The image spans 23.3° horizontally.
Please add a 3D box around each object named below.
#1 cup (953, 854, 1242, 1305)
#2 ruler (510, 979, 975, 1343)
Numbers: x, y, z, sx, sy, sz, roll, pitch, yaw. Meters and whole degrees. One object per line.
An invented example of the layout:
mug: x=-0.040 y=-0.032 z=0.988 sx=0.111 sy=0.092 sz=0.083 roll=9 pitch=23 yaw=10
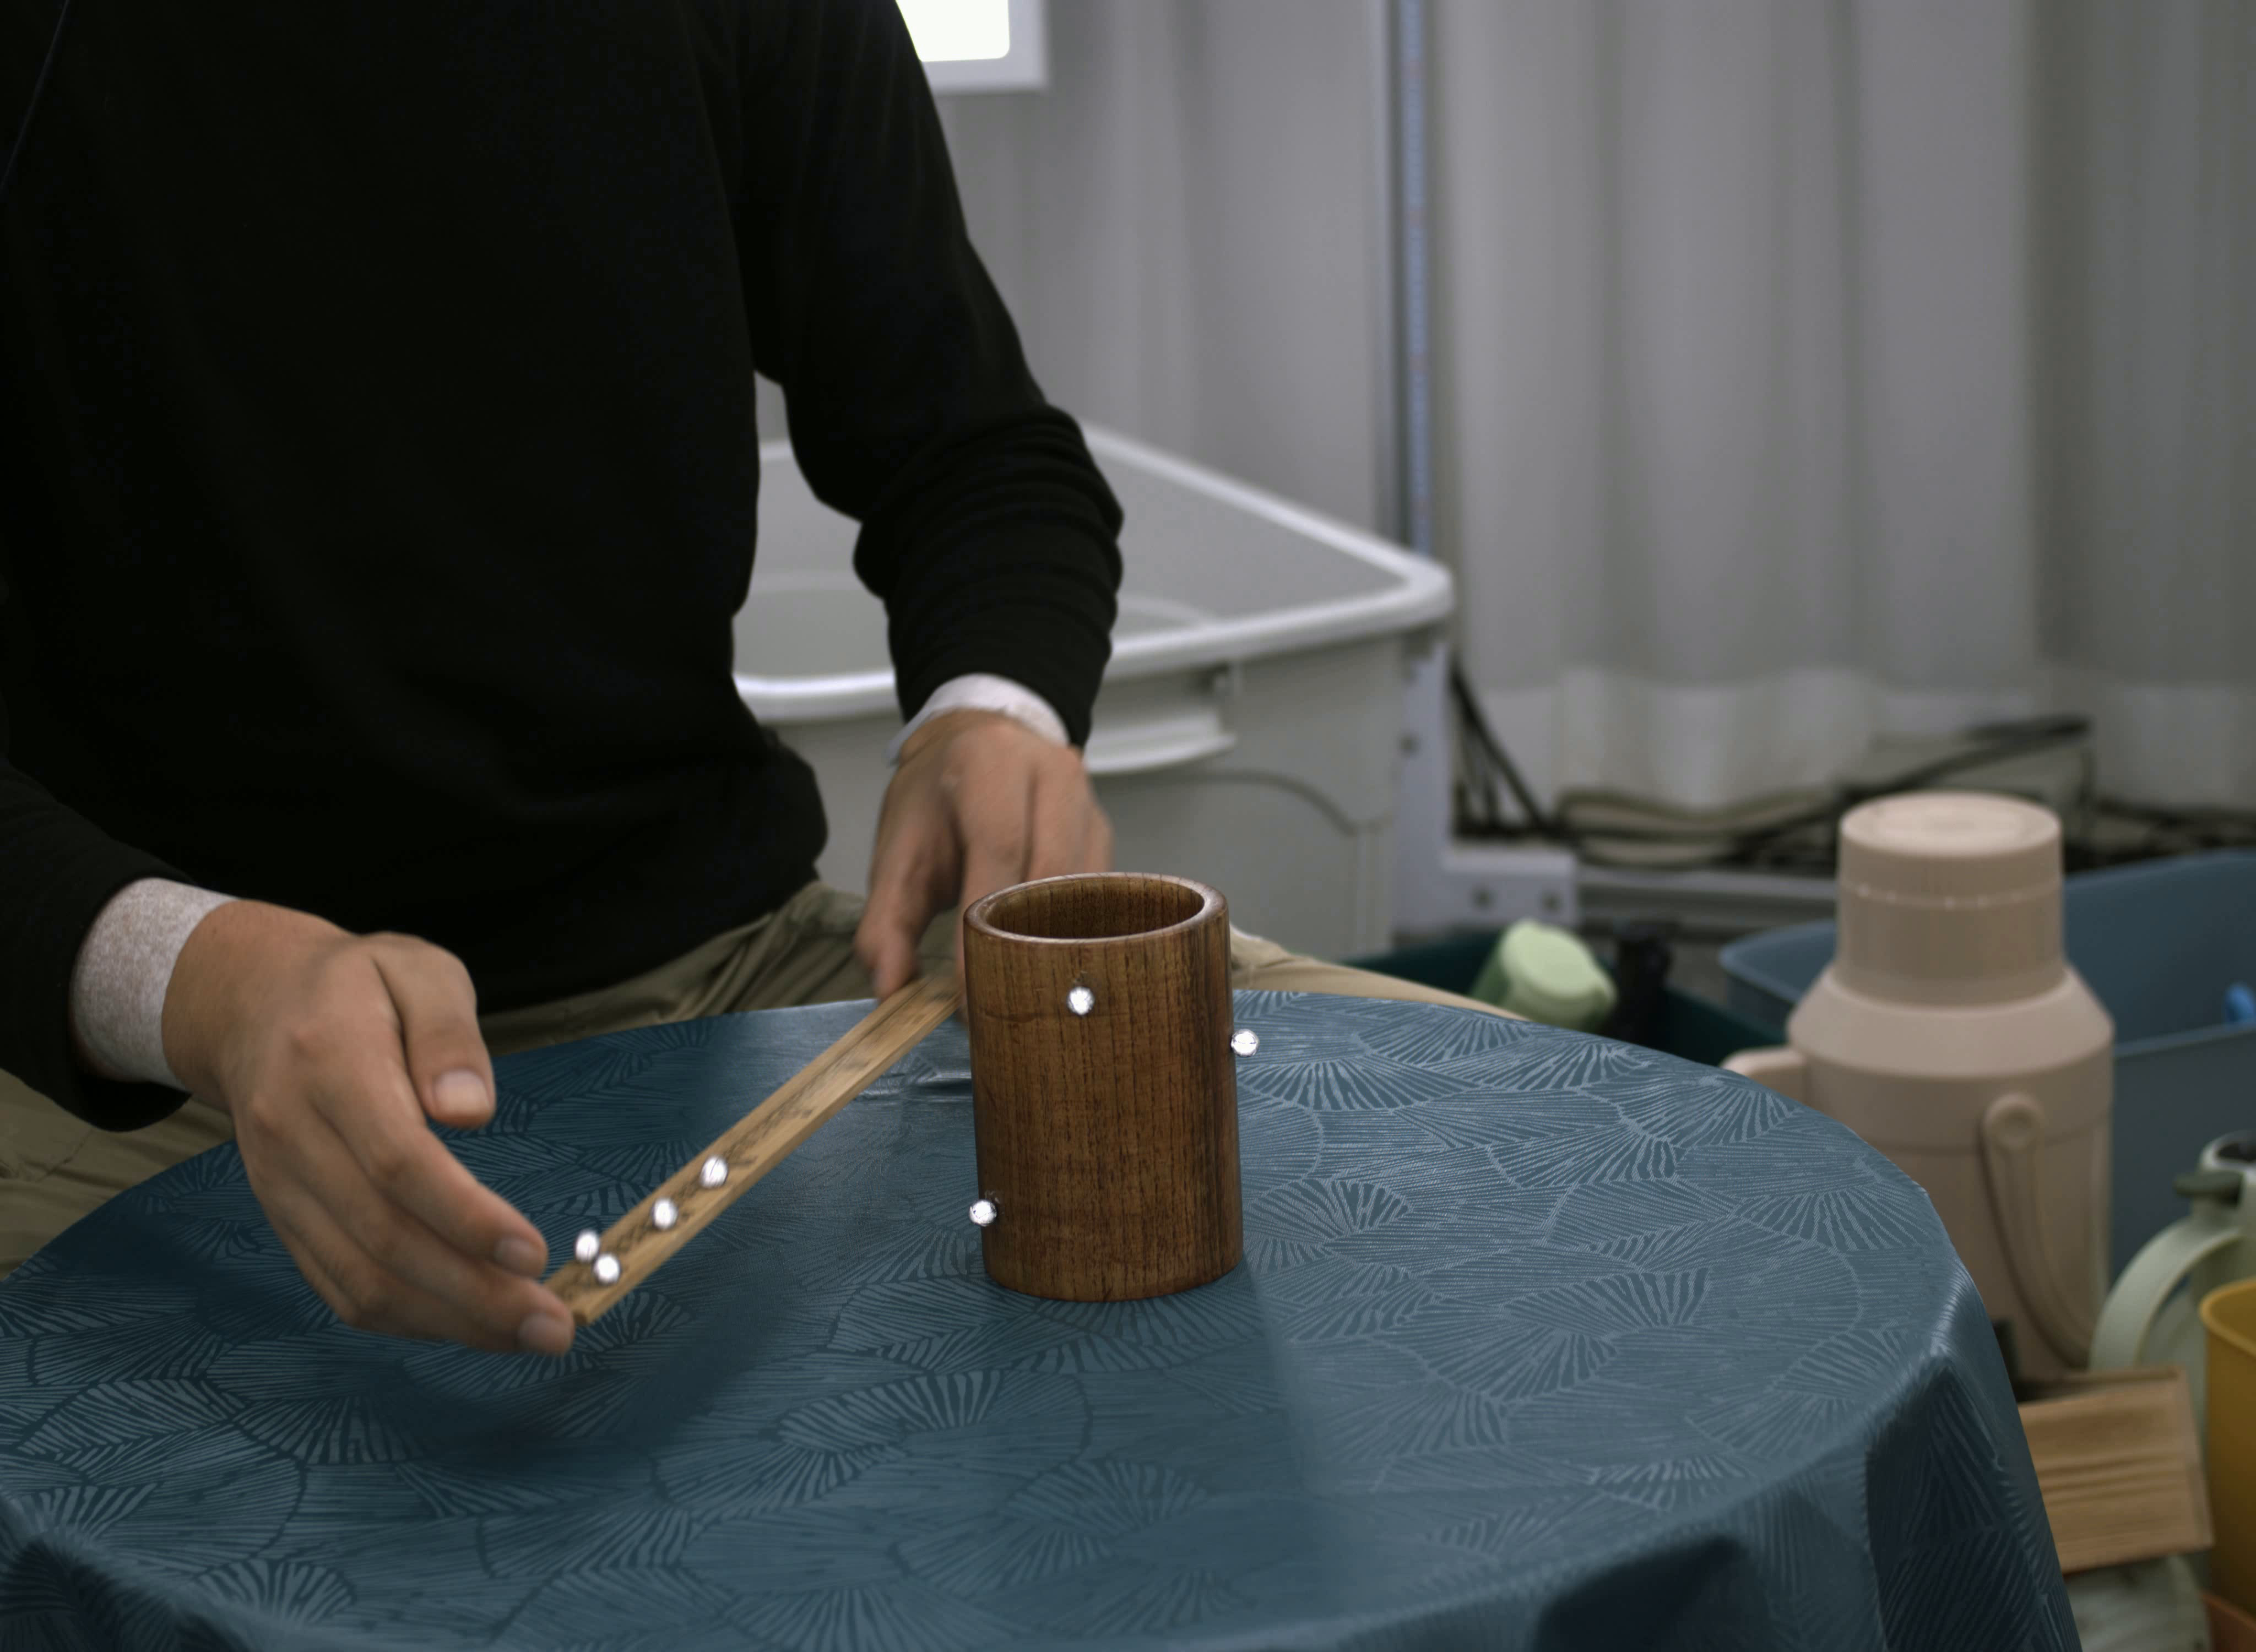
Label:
cup: x=-0.007 y=0.075 z=1.639 sx=0.087 sy=0.118 sz=0.088 roll=-2 pitch=13 yaw=0
ruler: x=-0.110 y=0.095 z=1.654 sx=0.027 sy=0.022 sz=0.333 roll=1 pitch=15 yaw=18
